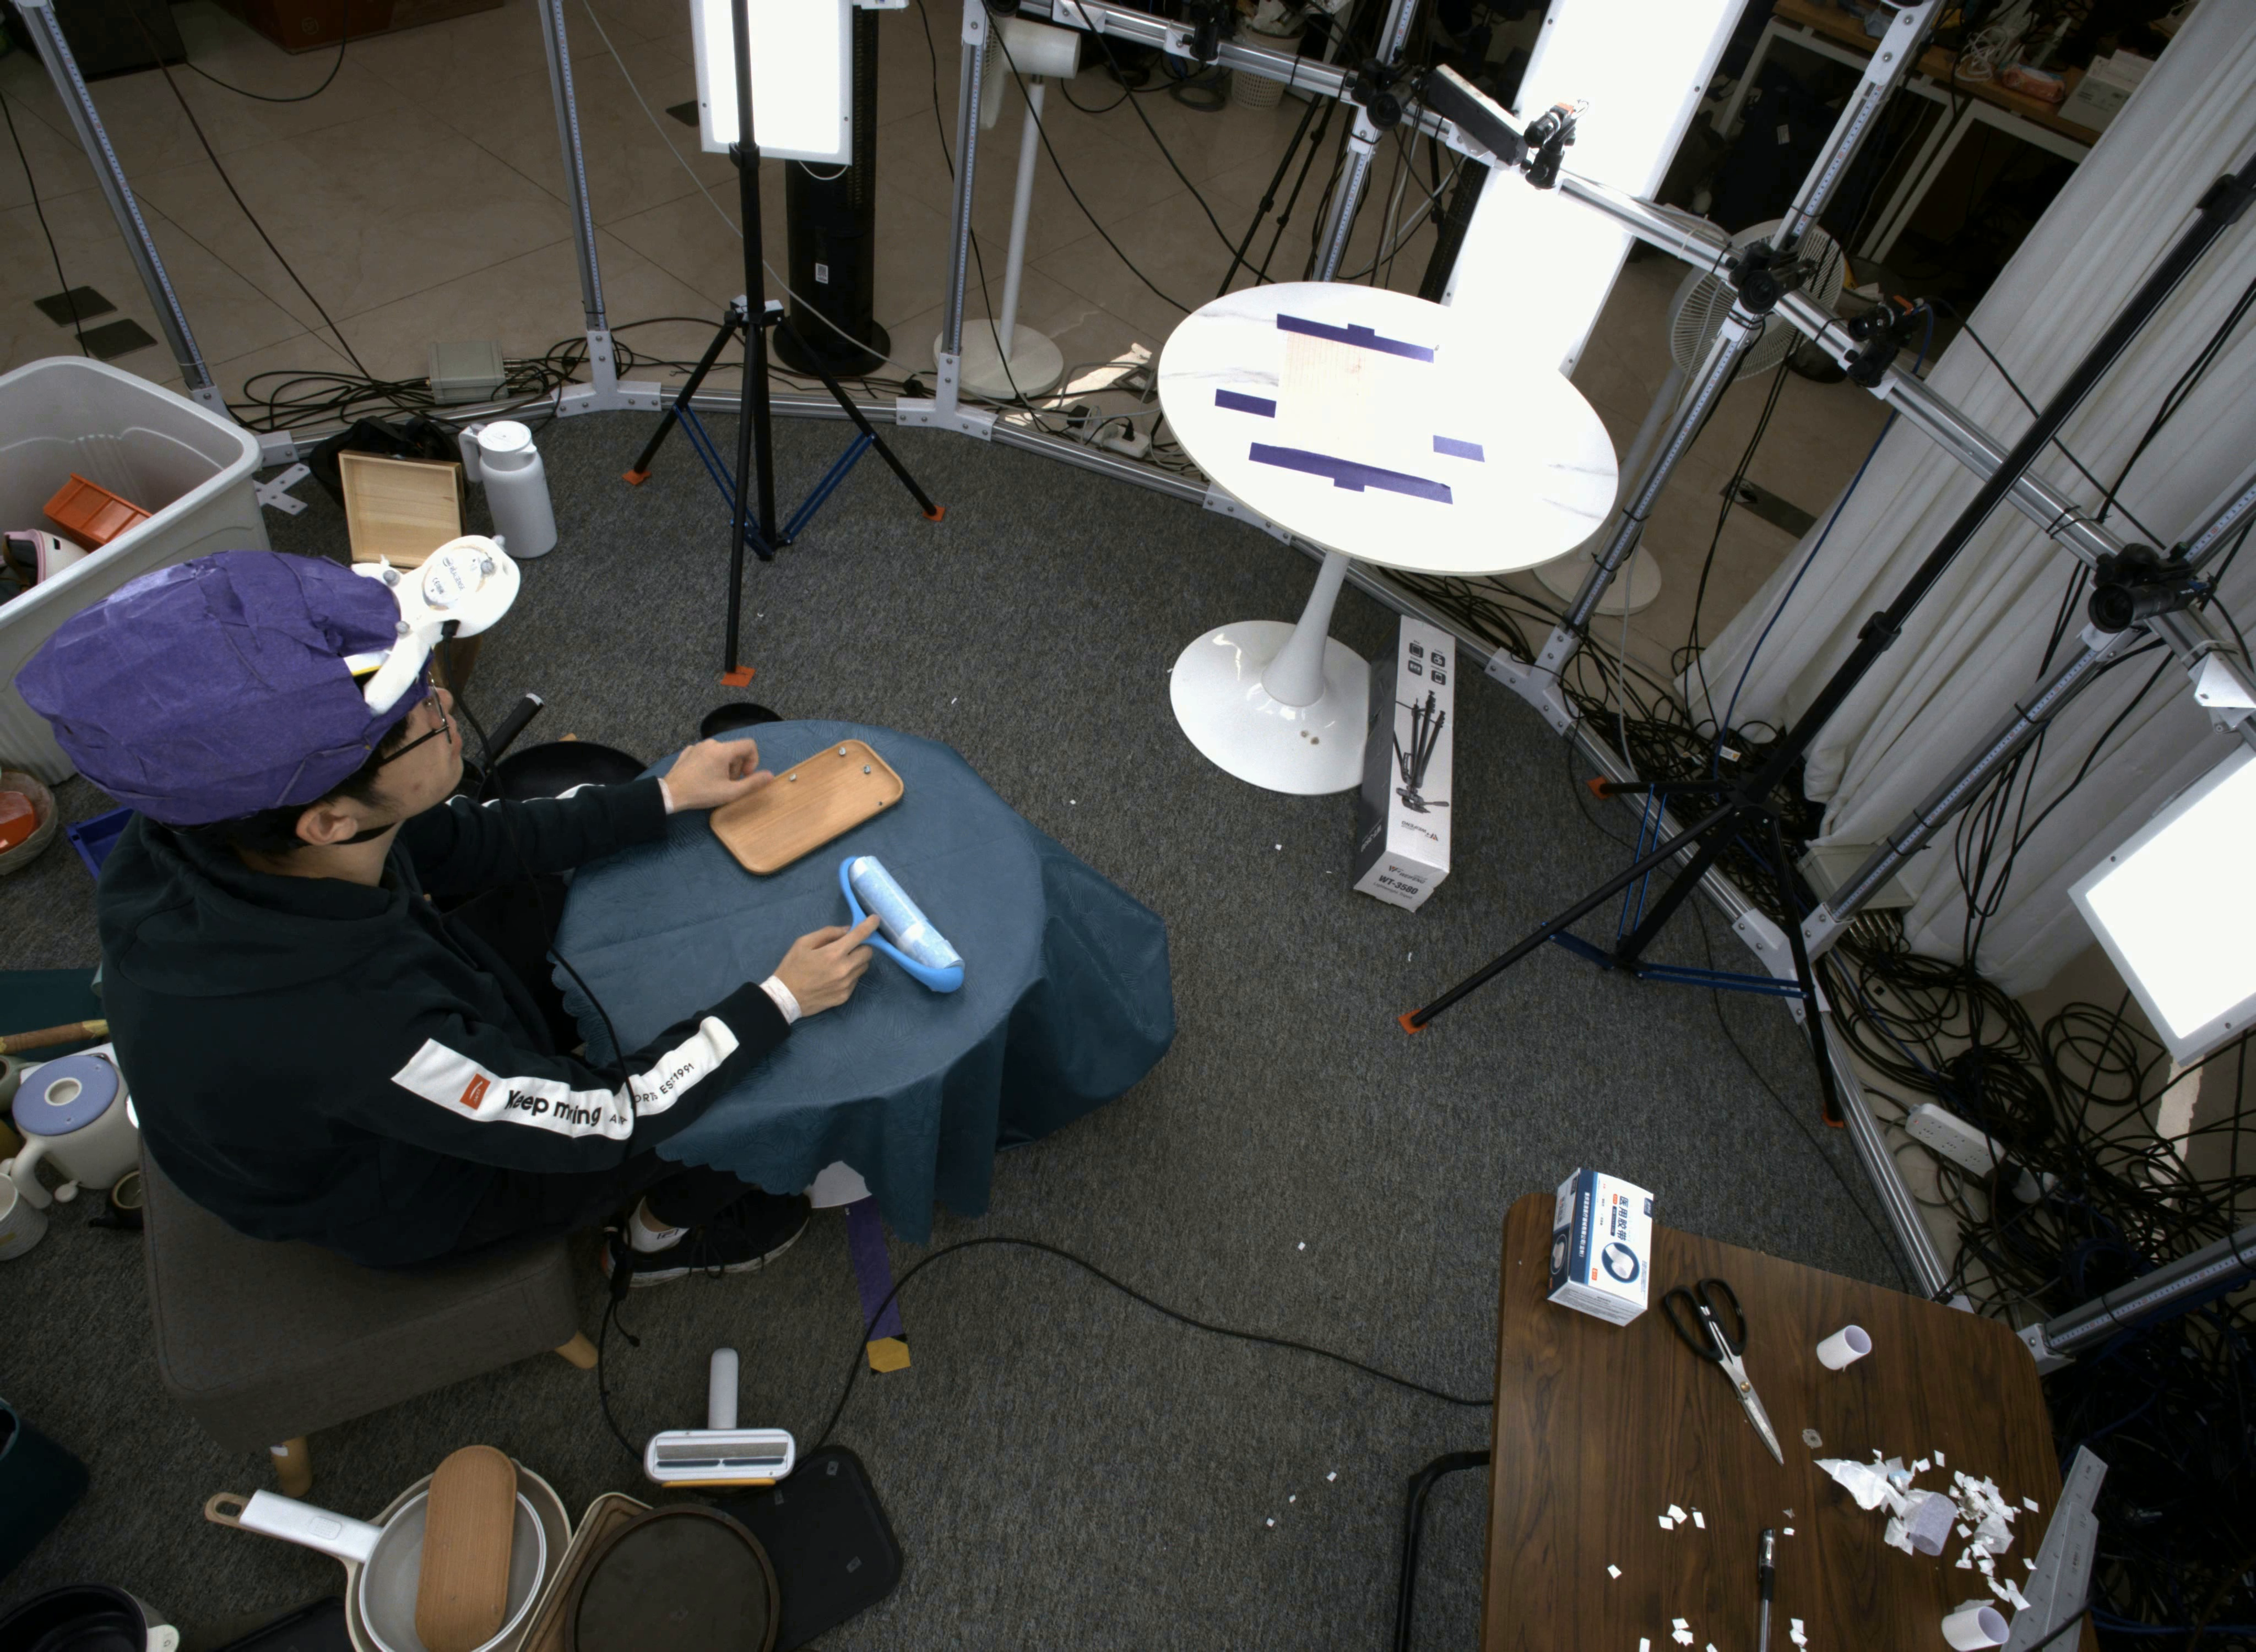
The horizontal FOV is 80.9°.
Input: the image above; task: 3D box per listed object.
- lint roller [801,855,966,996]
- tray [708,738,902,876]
[{"bbox_3d":[-0.326,0.145,1.612,0.181,0.069,0.224,-34,70,-33],"label":"lint roller"},{"bbox_3d":[-0.430,-0.029,1.738,0.251,0.023,0.127,-33,66,-32],"label":"tray"}]
